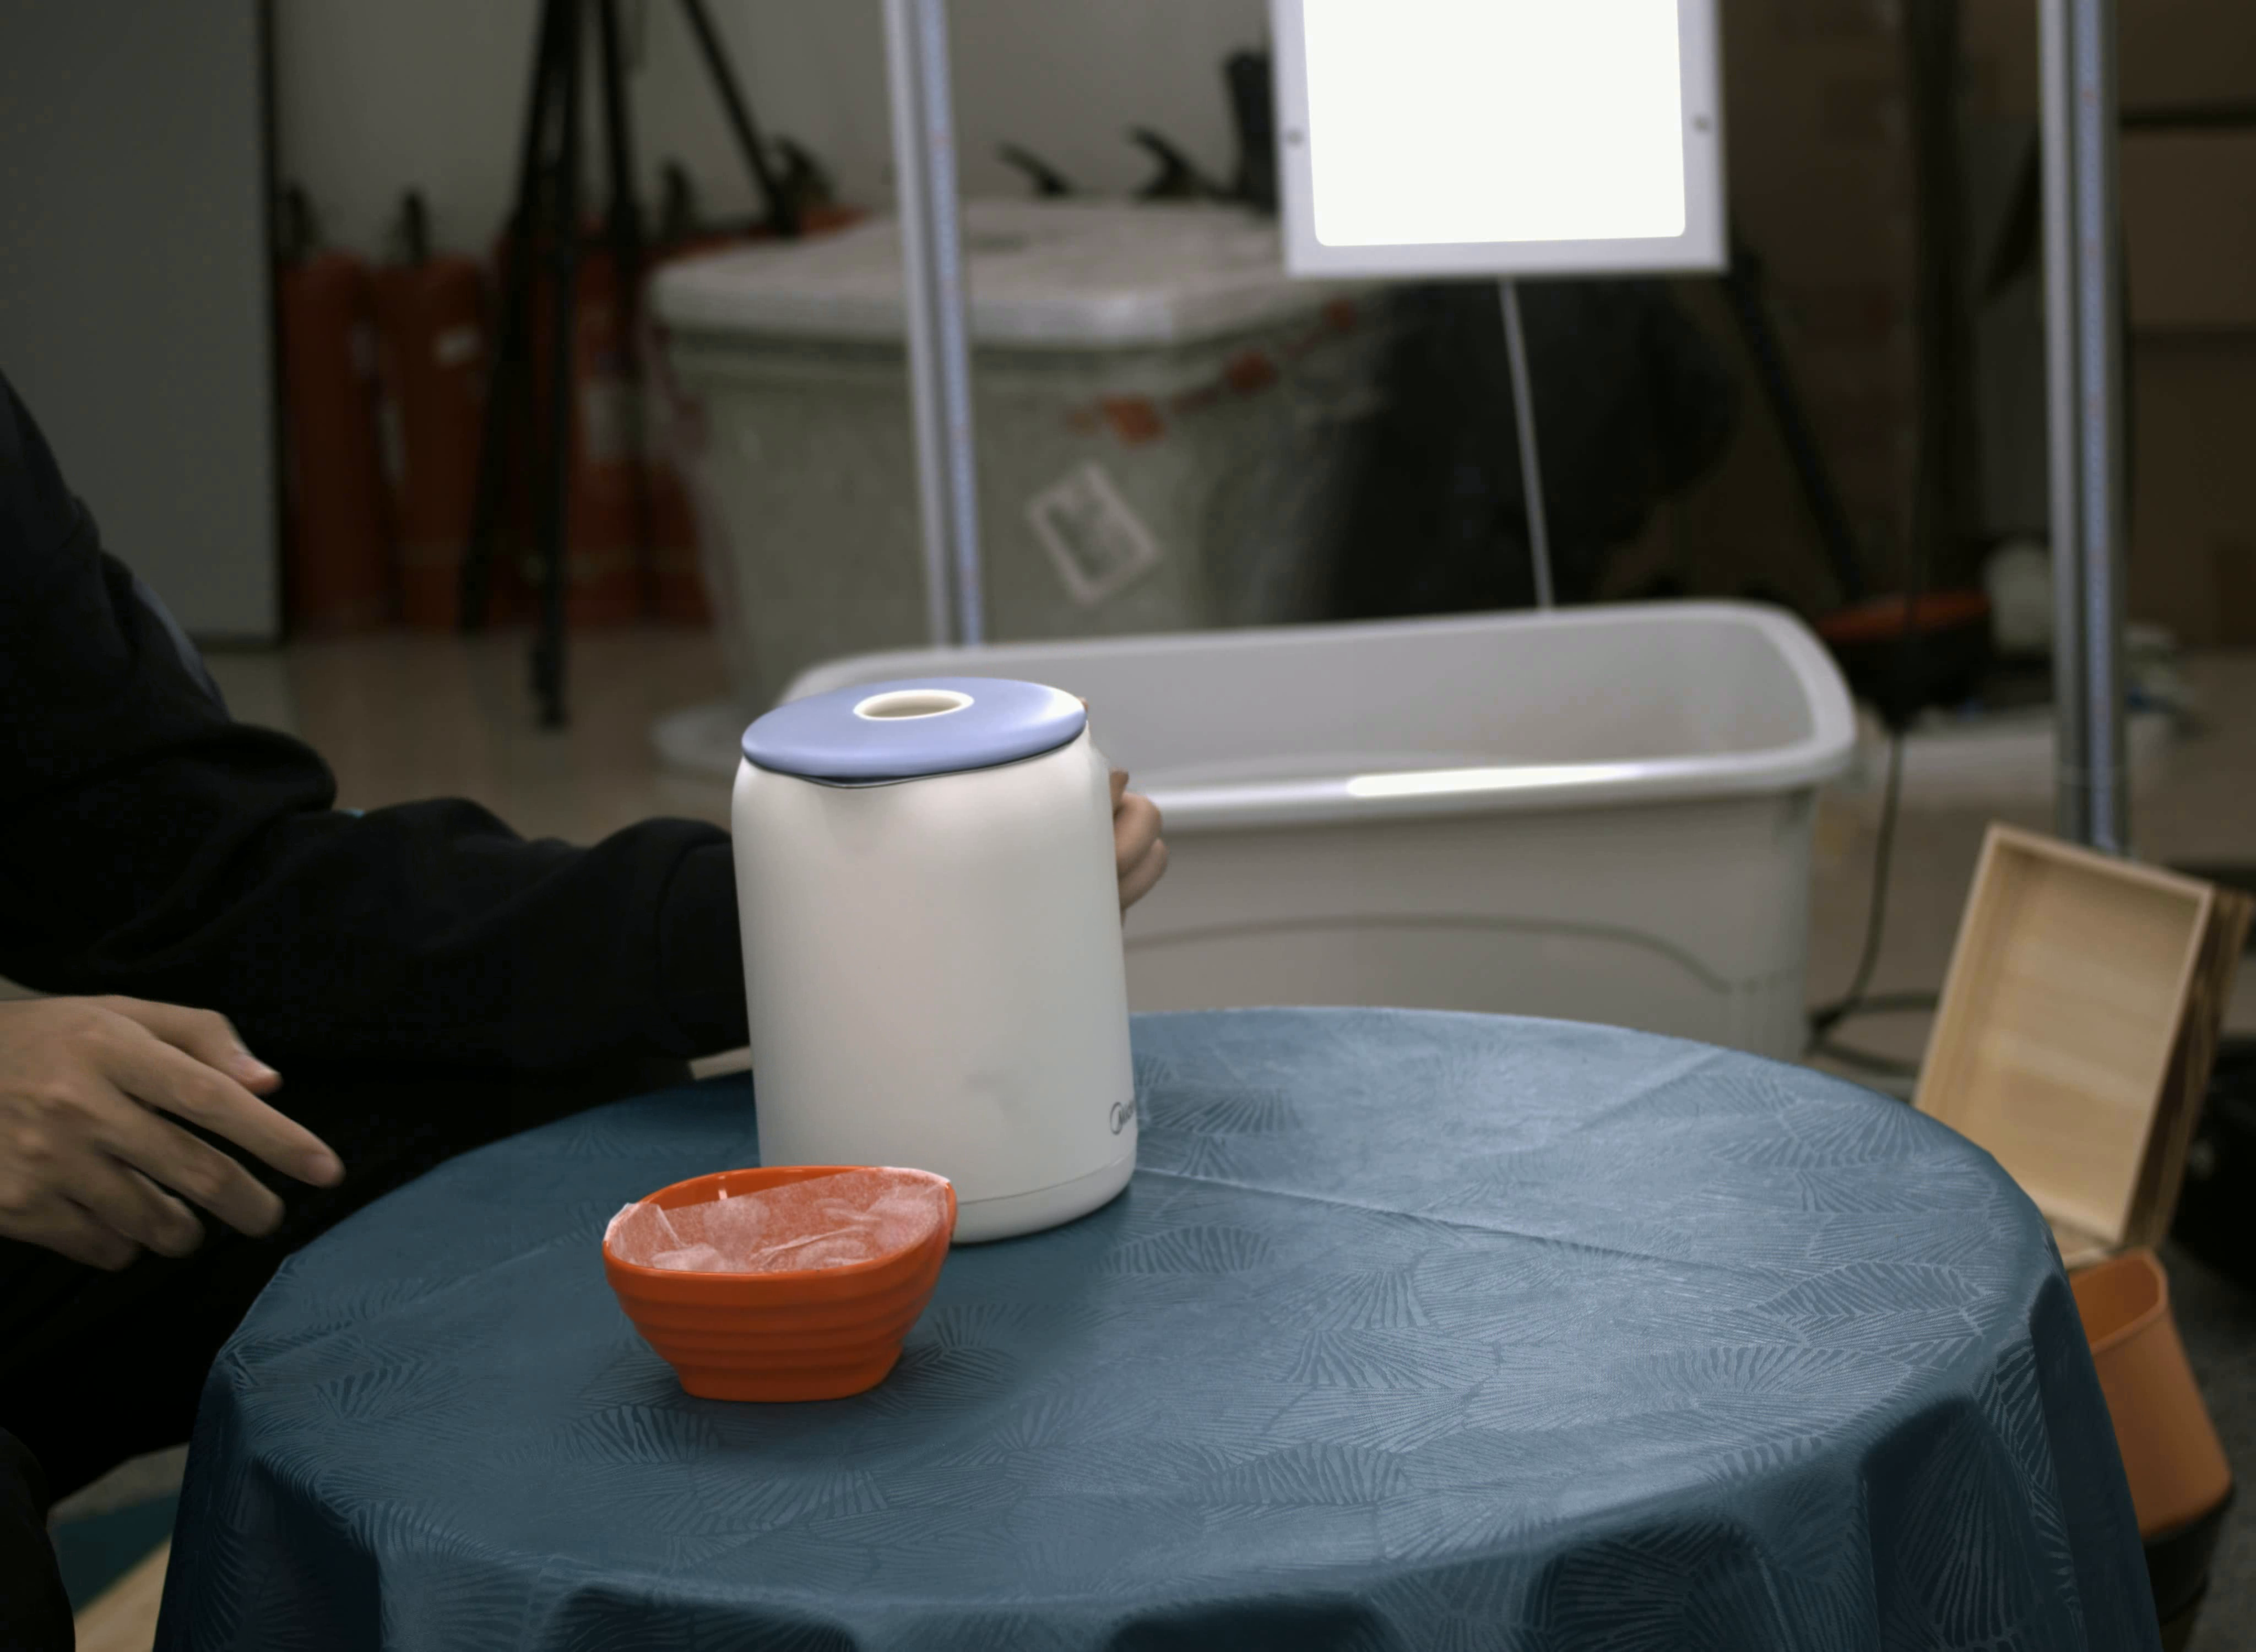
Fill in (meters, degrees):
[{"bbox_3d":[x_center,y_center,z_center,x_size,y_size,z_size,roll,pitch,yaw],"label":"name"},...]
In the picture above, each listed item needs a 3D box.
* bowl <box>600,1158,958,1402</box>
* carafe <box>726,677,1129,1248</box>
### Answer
[{"bbox_3d":[-0.109,0.146,1.743,0.118,0.051,0.119,-3,16,0],"label":"bowl"},{"bbox_3d":[-0.063,0.041,1.911,0.133,0.183,0.188,1,12,16],"label":"carafe"}]
